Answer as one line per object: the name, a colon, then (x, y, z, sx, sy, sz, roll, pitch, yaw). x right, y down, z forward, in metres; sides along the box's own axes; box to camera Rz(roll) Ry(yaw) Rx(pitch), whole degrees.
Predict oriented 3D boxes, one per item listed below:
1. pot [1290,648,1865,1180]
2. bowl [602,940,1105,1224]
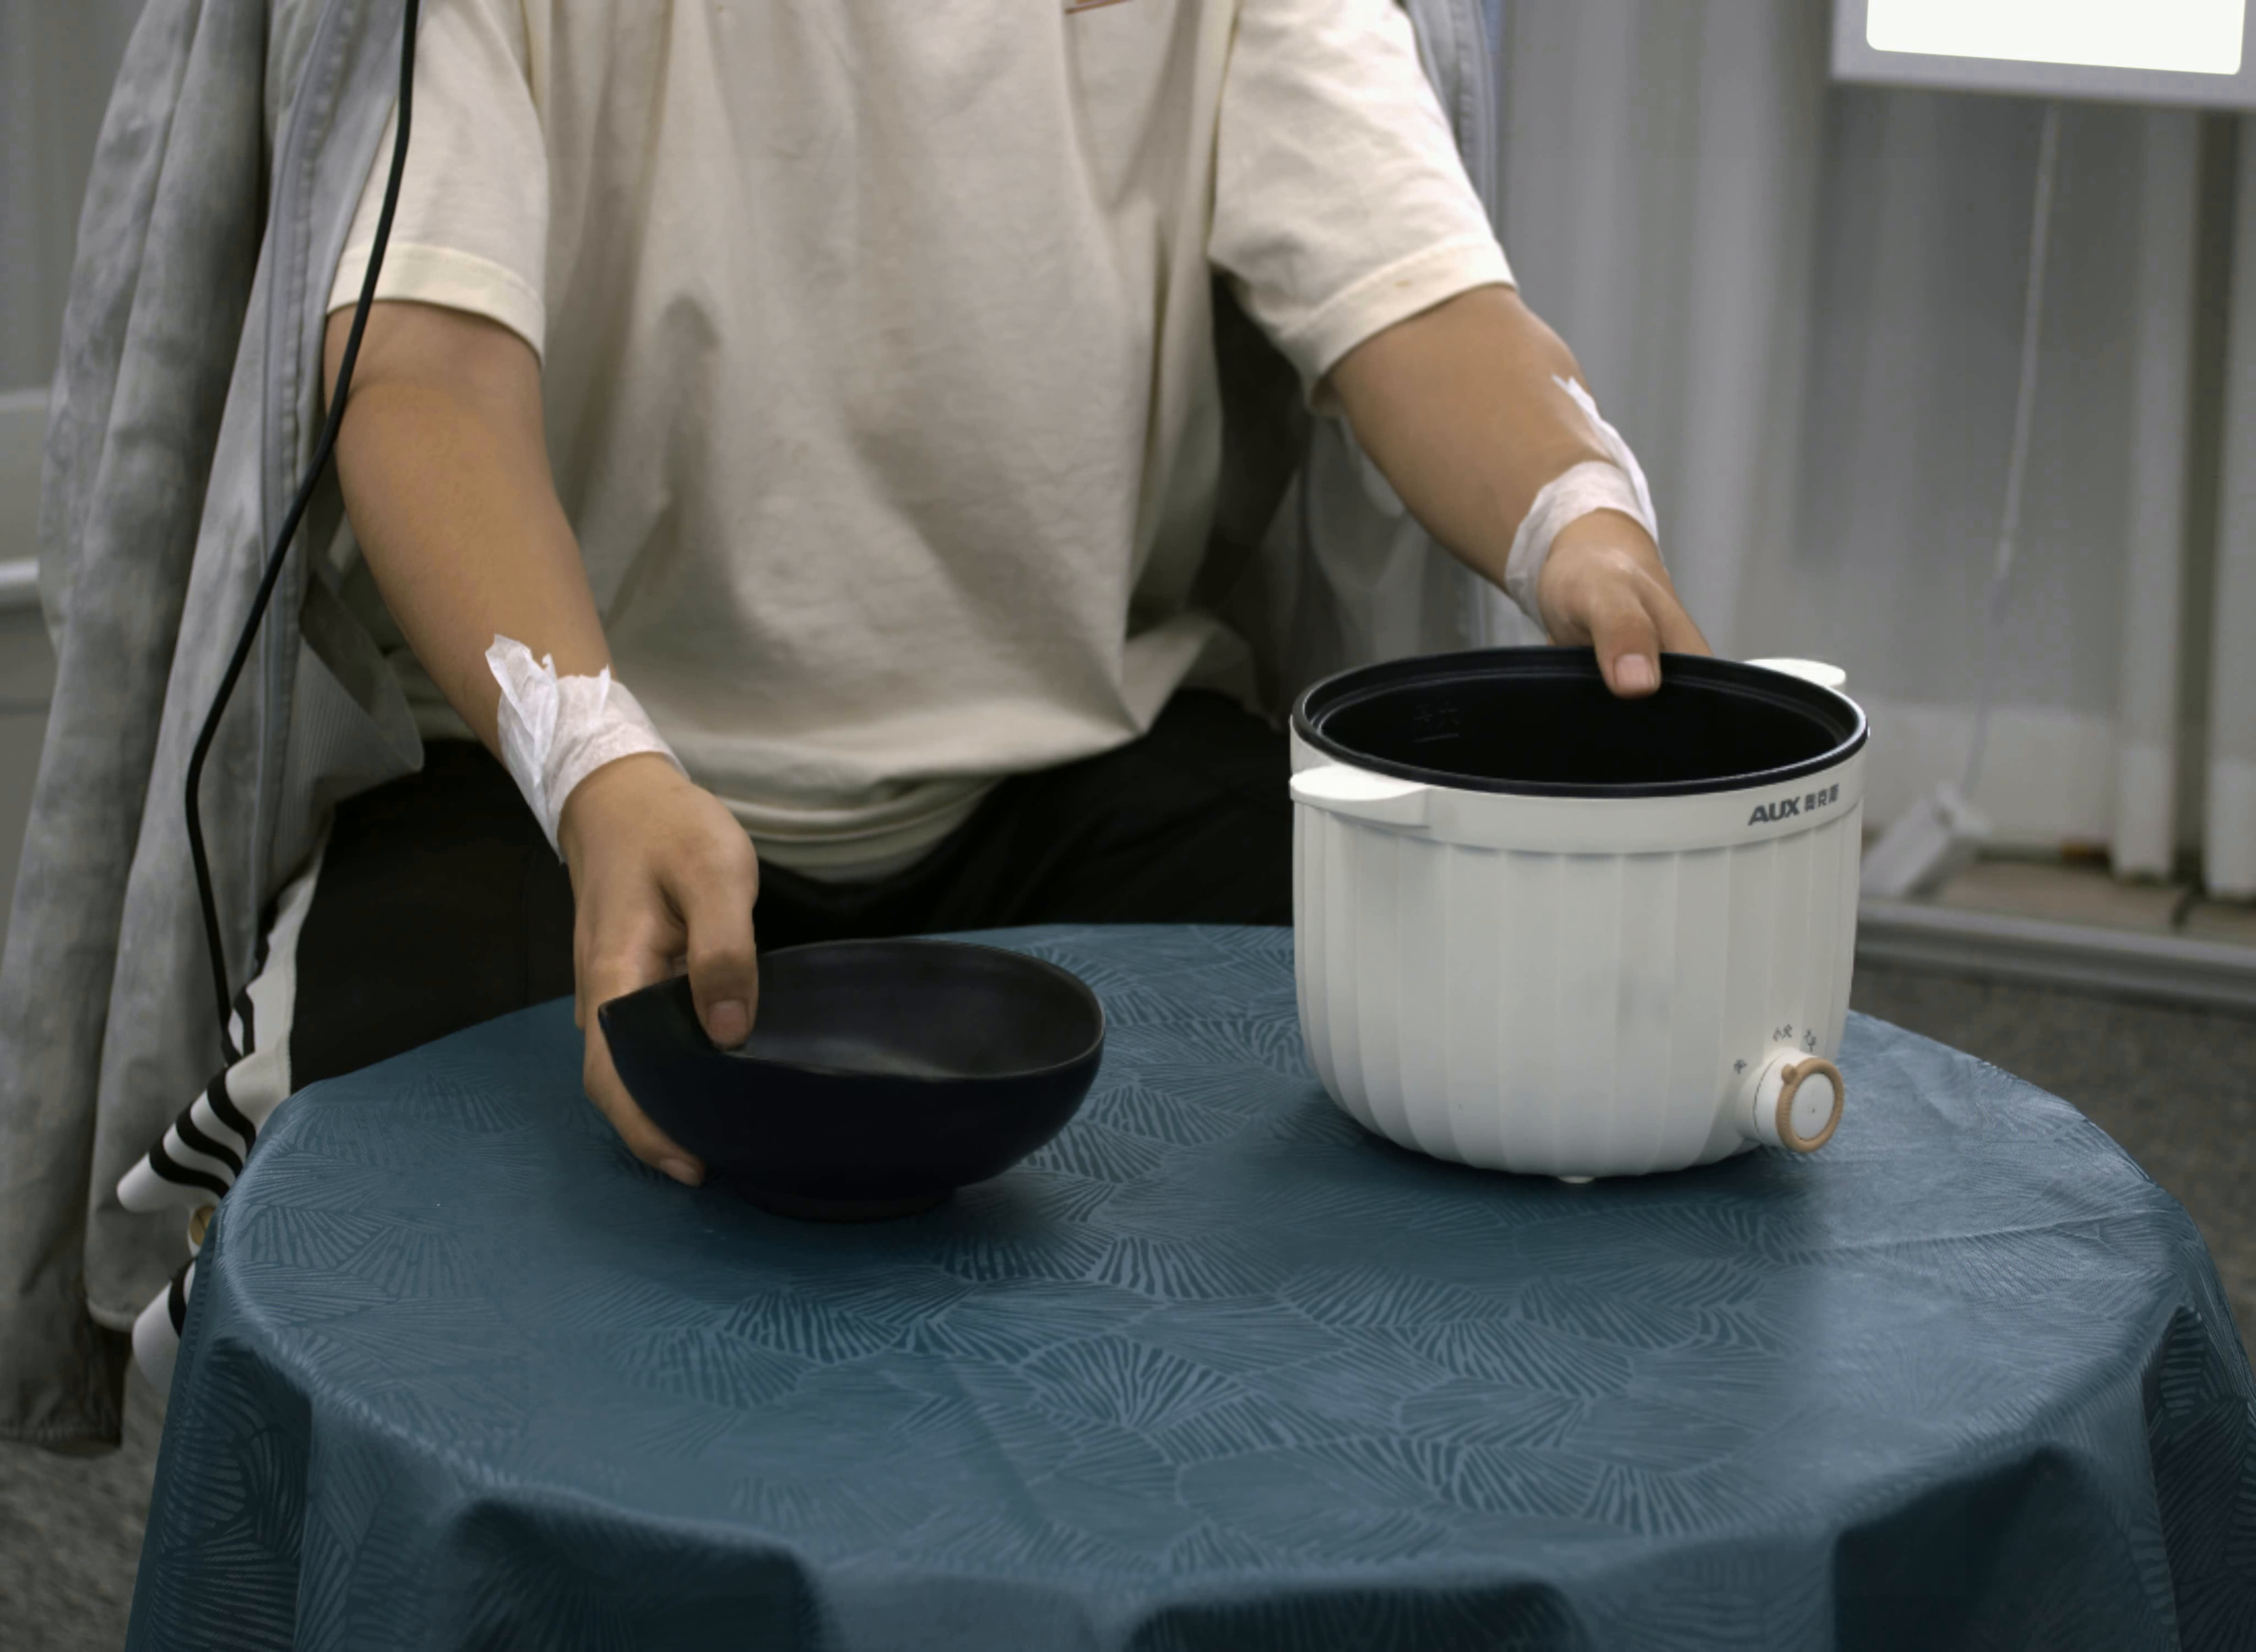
pot: (0.146, 0.029, 1.673, 0.241, 0.144, 0.188, -15, 19, -42)
bowl: (-0.086, 0.082, 1.613, 0.168, 0.067, 0.138, 10, 17, 34)
